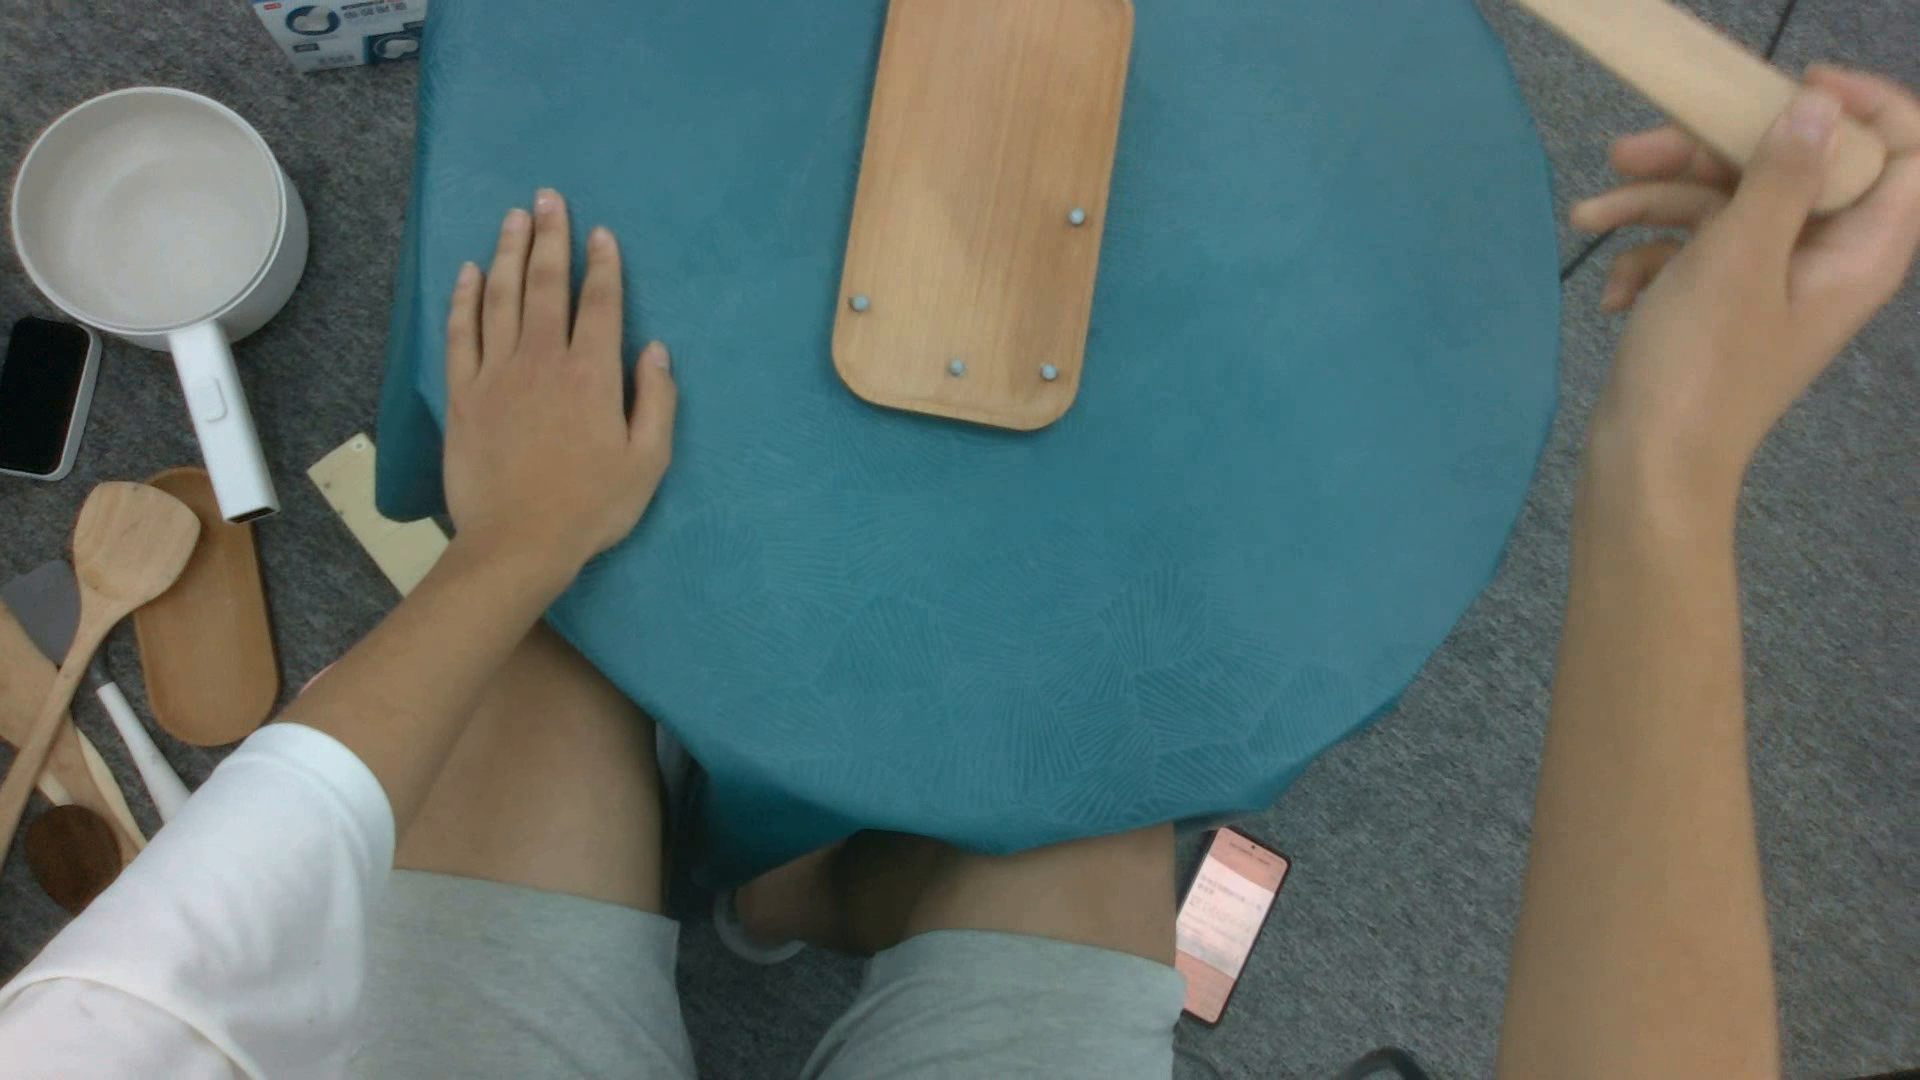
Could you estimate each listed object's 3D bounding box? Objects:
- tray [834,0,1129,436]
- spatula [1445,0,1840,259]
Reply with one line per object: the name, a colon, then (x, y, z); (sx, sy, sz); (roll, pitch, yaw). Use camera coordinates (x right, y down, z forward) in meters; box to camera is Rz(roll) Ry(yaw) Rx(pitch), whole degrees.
tray: (0.013, -0.182, 0.723); (0.130, 0.023, 0.251); (11, 81, -9)
spatula: (0.204, -0.201, 0.513); (0.072, 0.010, 0.293); (-40, 59, 11)
